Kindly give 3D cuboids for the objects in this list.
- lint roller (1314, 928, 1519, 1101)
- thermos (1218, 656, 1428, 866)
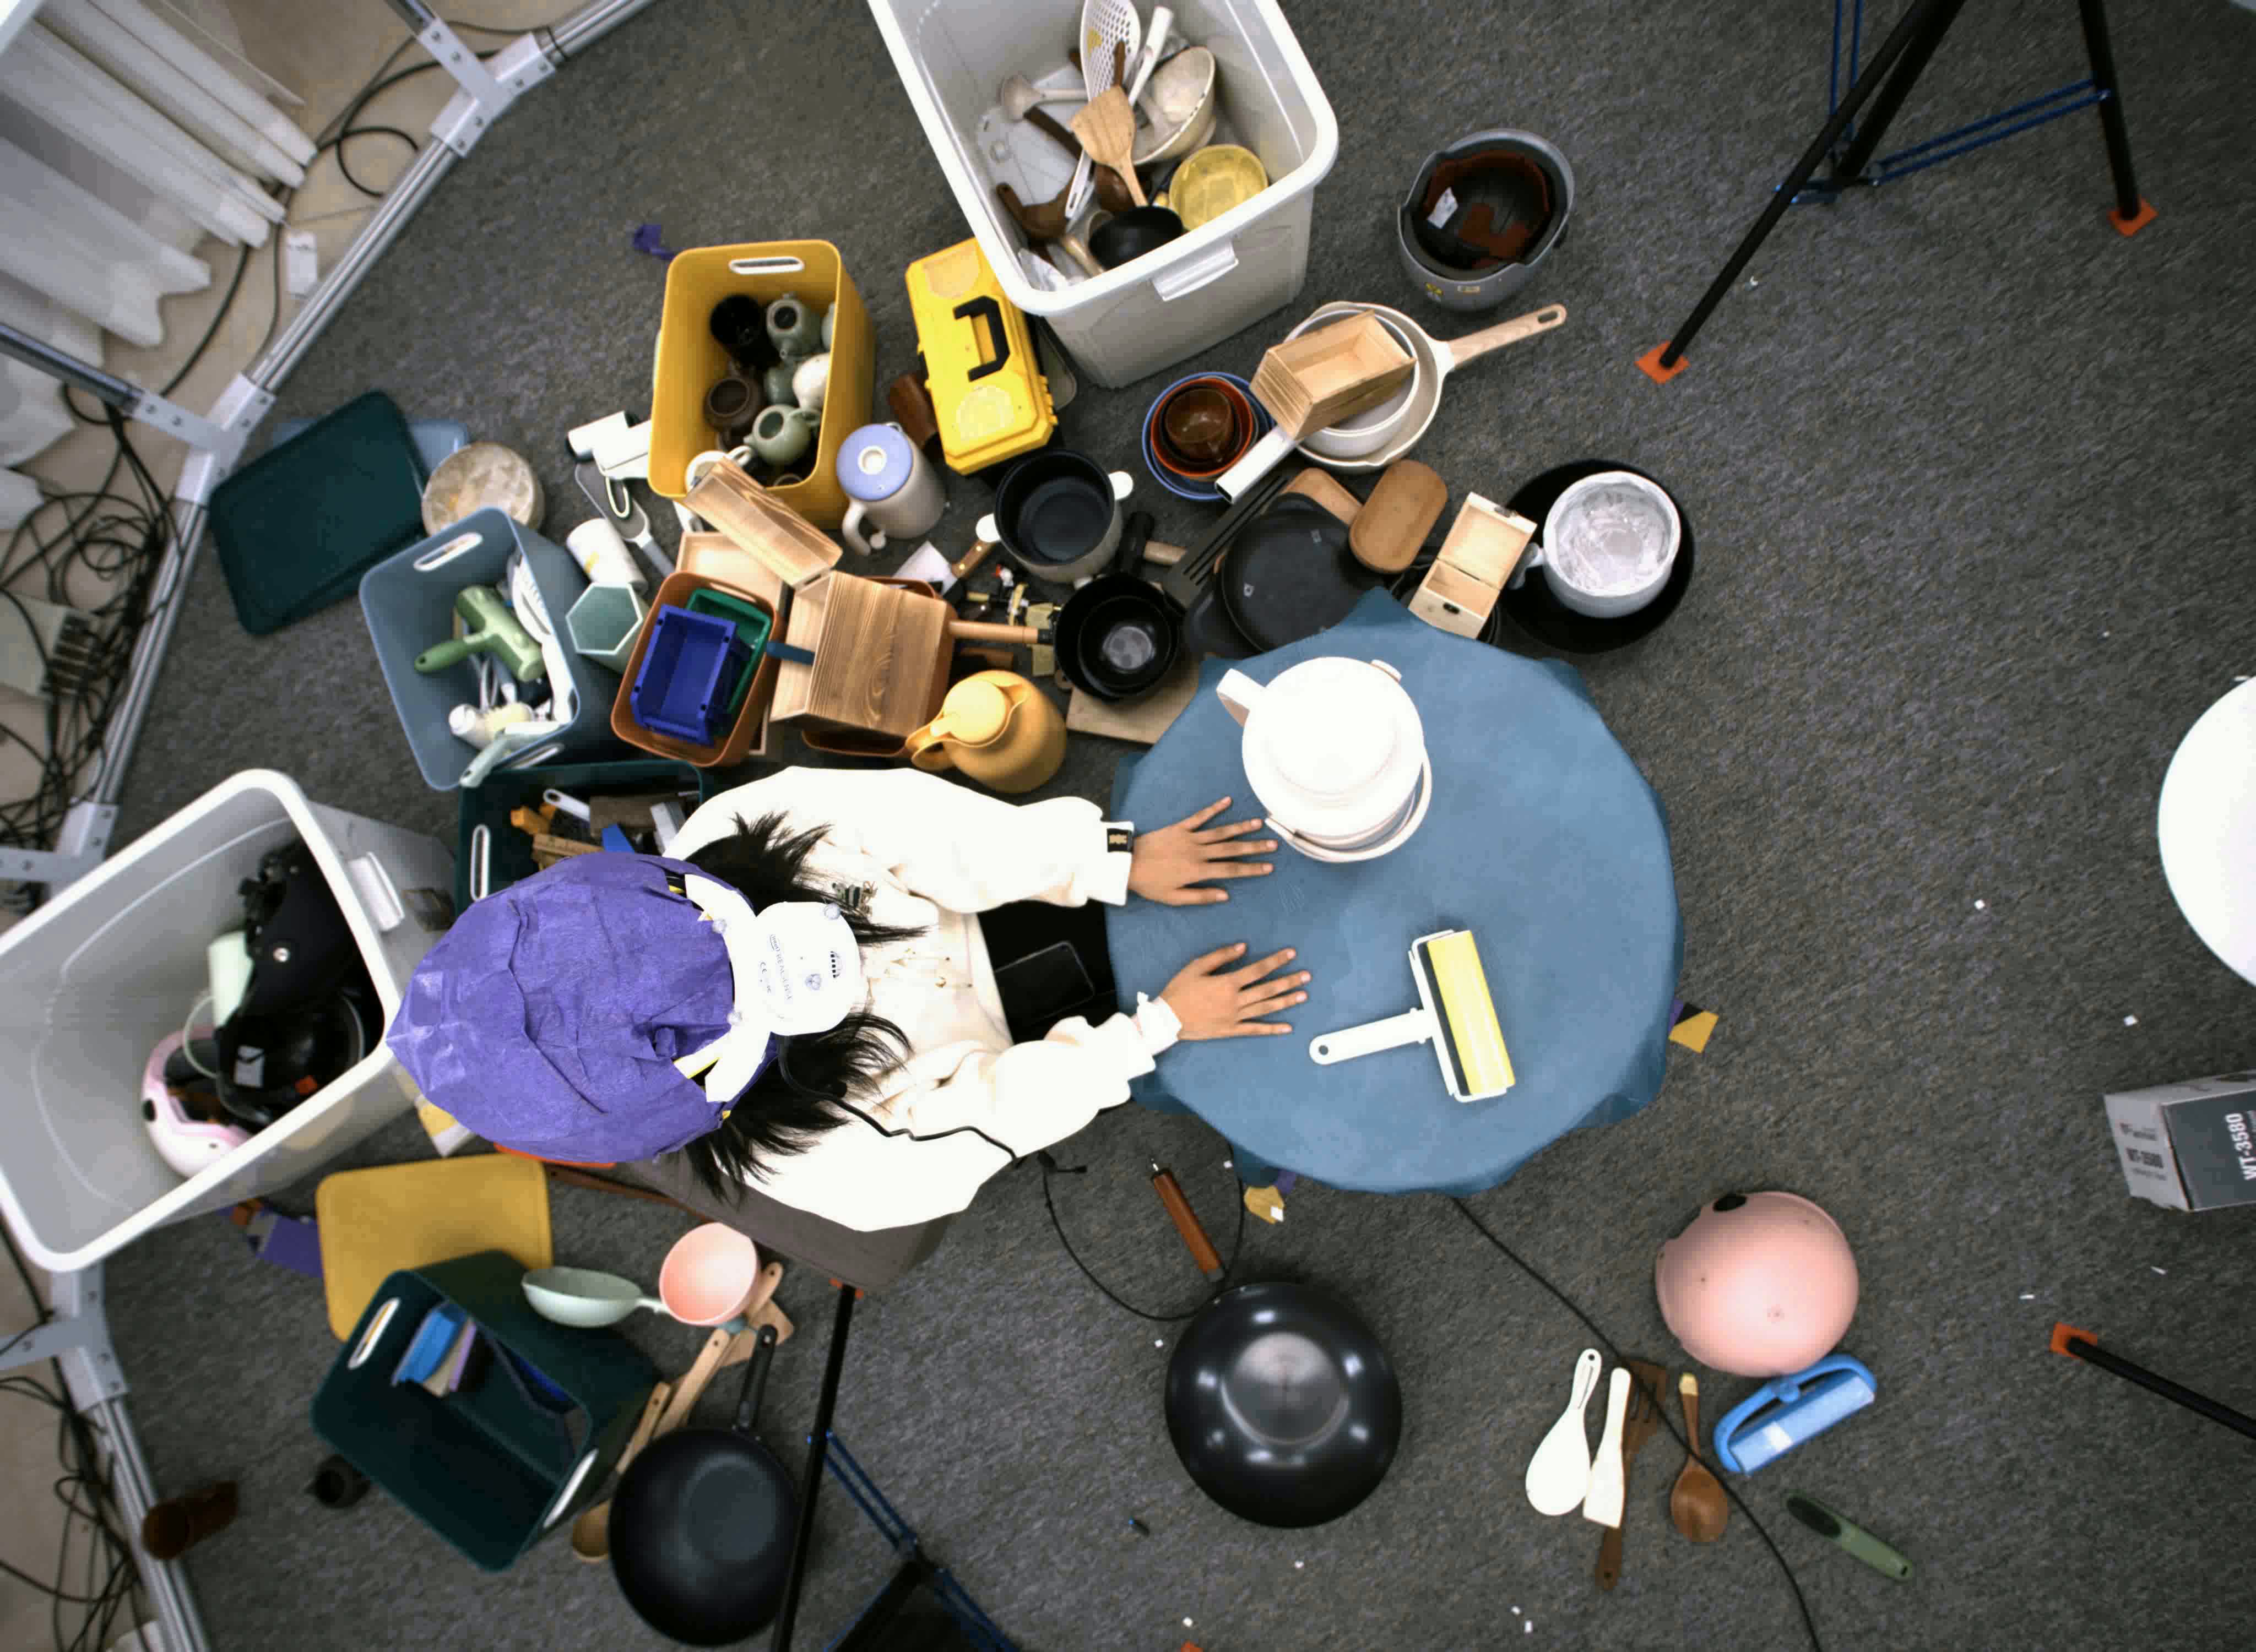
[{"bbox_3d":[0.285,0.210,1.422,0.192,0.051,0.173,-16,83,2],"label":"lint roller"},{"bbox_3d":[0.182,-0.068,1.283,0.206,0.407,0.175,34,91,12],"label":"thermos"}]
